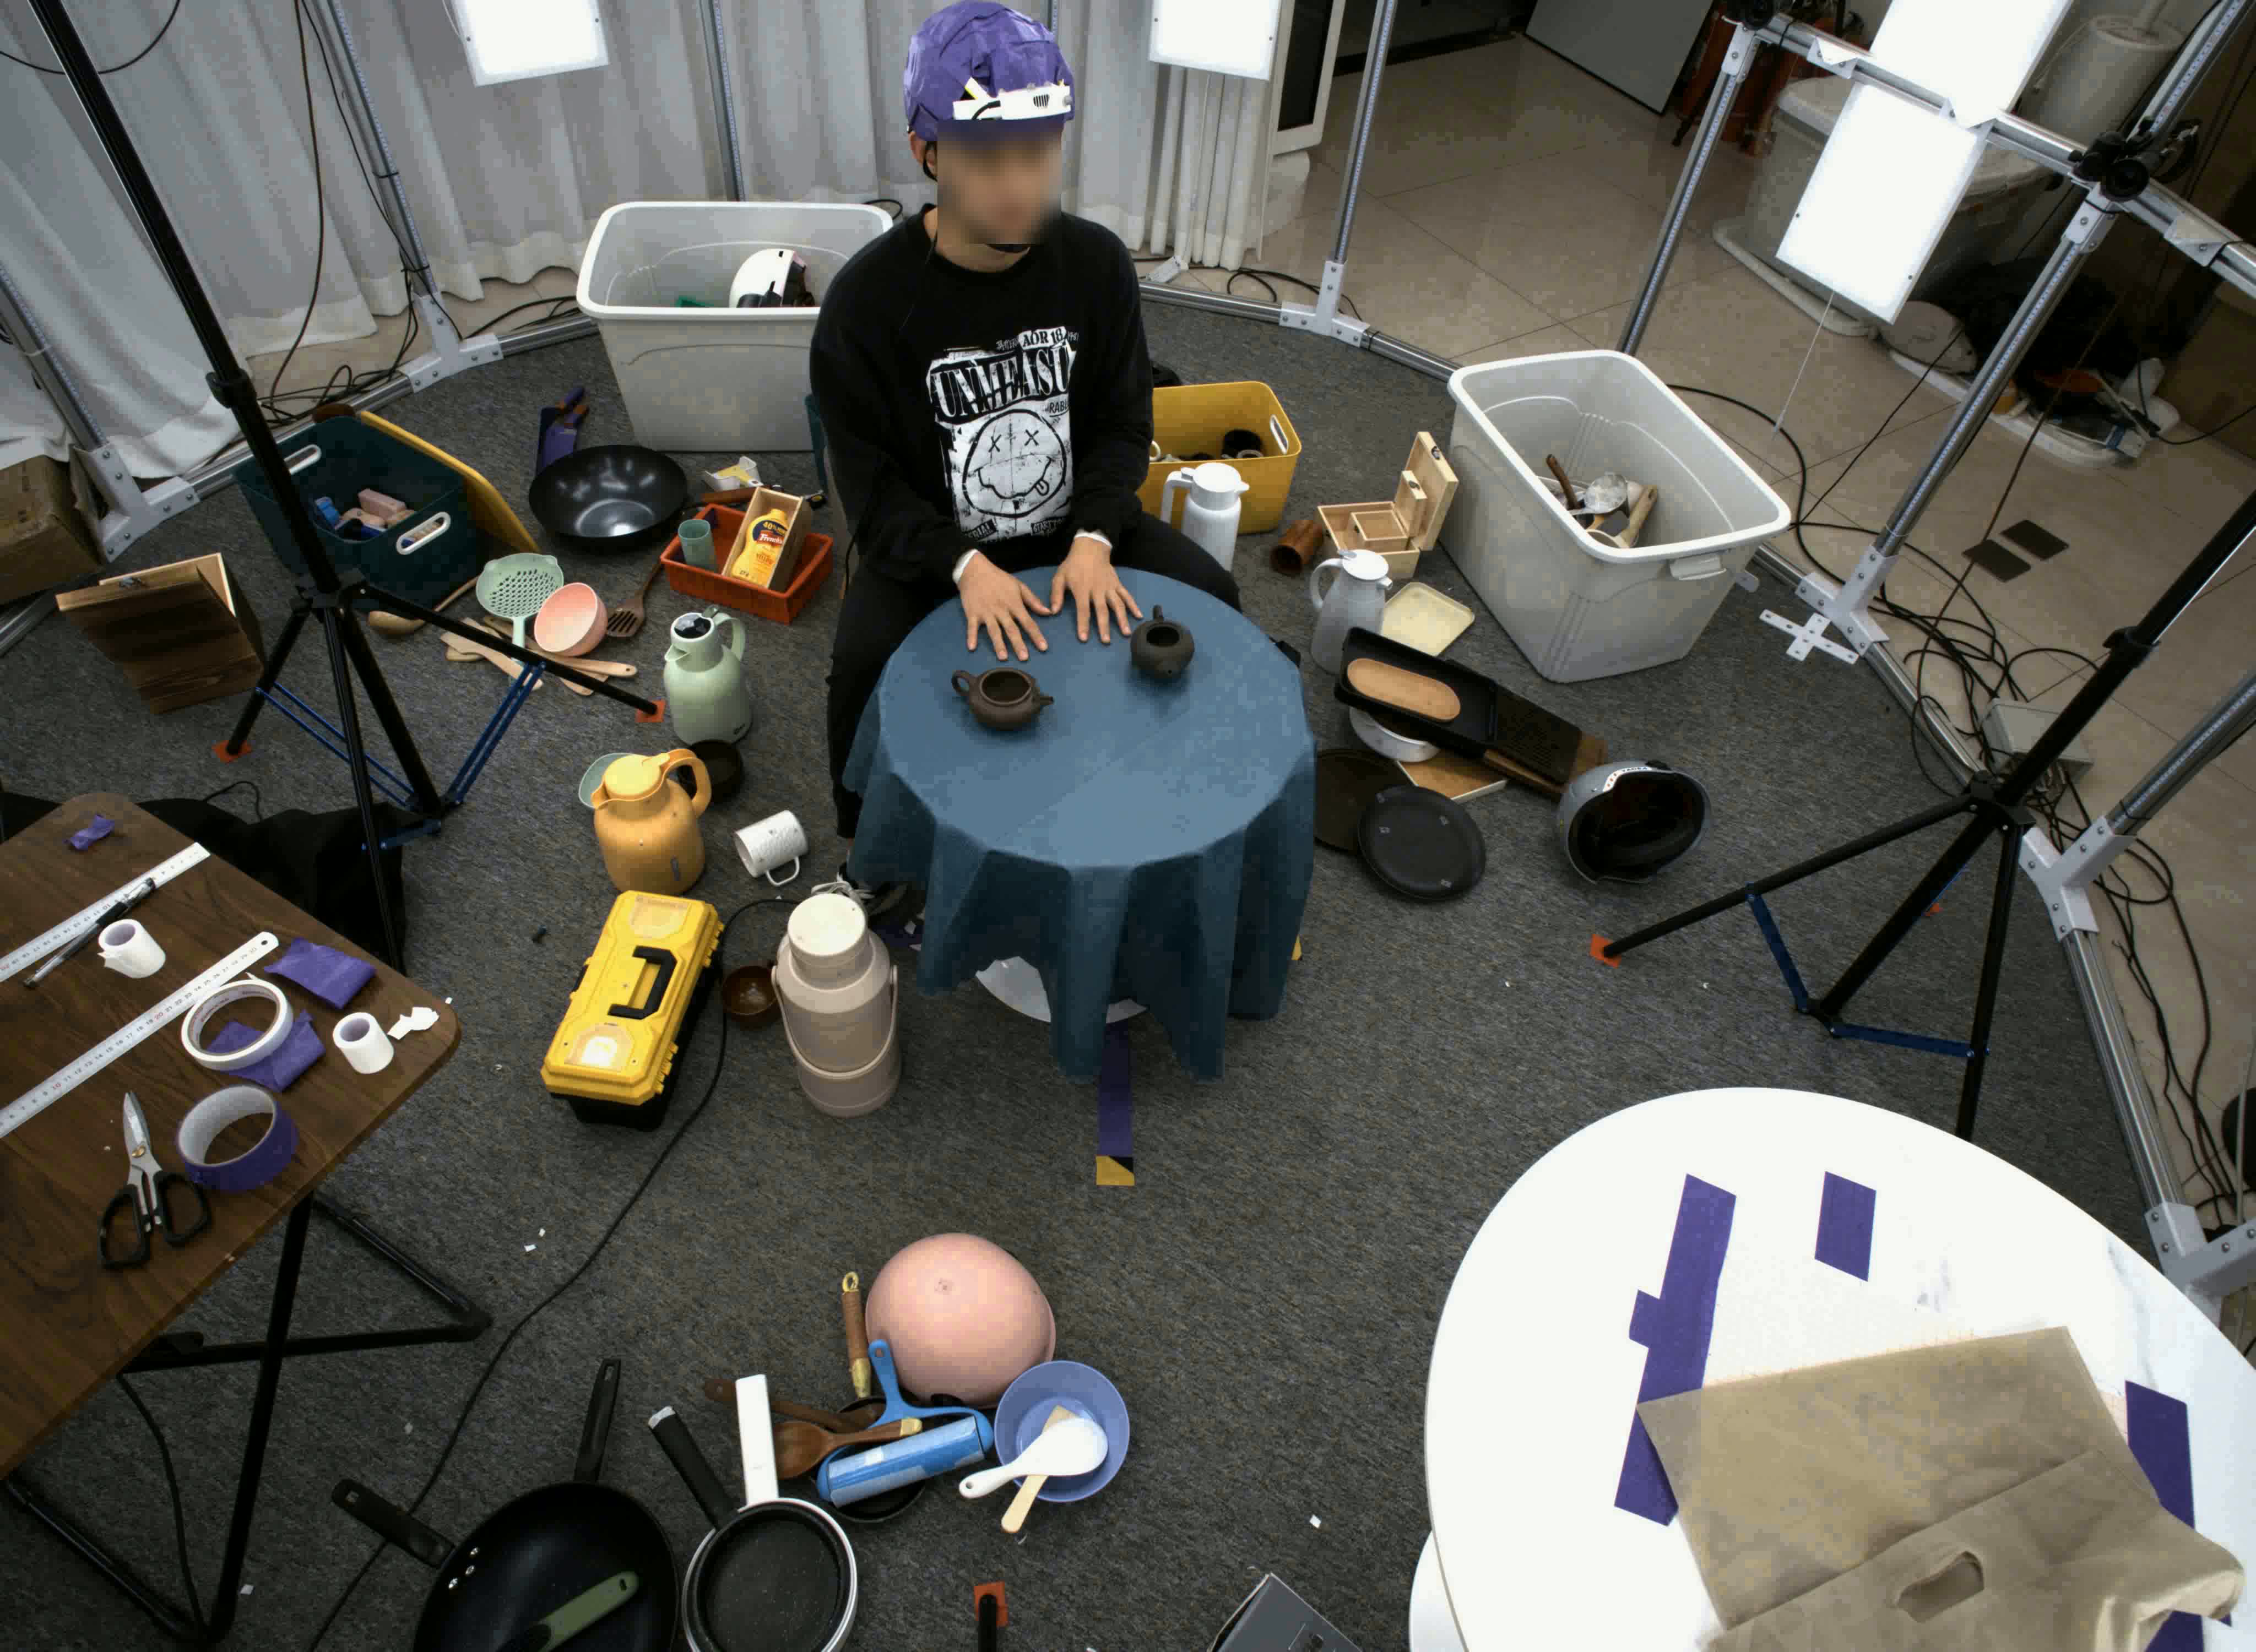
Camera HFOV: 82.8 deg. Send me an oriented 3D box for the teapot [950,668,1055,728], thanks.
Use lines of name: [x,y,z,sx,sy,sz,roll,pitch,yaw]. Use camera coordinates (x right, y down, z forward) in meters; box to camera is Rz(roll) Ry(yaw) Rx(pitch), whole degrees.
teapot: [-0.174,-0.180,1.779,0.154,0.052,0.105,15,47,8]

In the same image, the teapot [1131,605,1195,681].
teapot: [0.049,-0.260,1.856,0.092,0.063,0.158,-1,50,-7]
